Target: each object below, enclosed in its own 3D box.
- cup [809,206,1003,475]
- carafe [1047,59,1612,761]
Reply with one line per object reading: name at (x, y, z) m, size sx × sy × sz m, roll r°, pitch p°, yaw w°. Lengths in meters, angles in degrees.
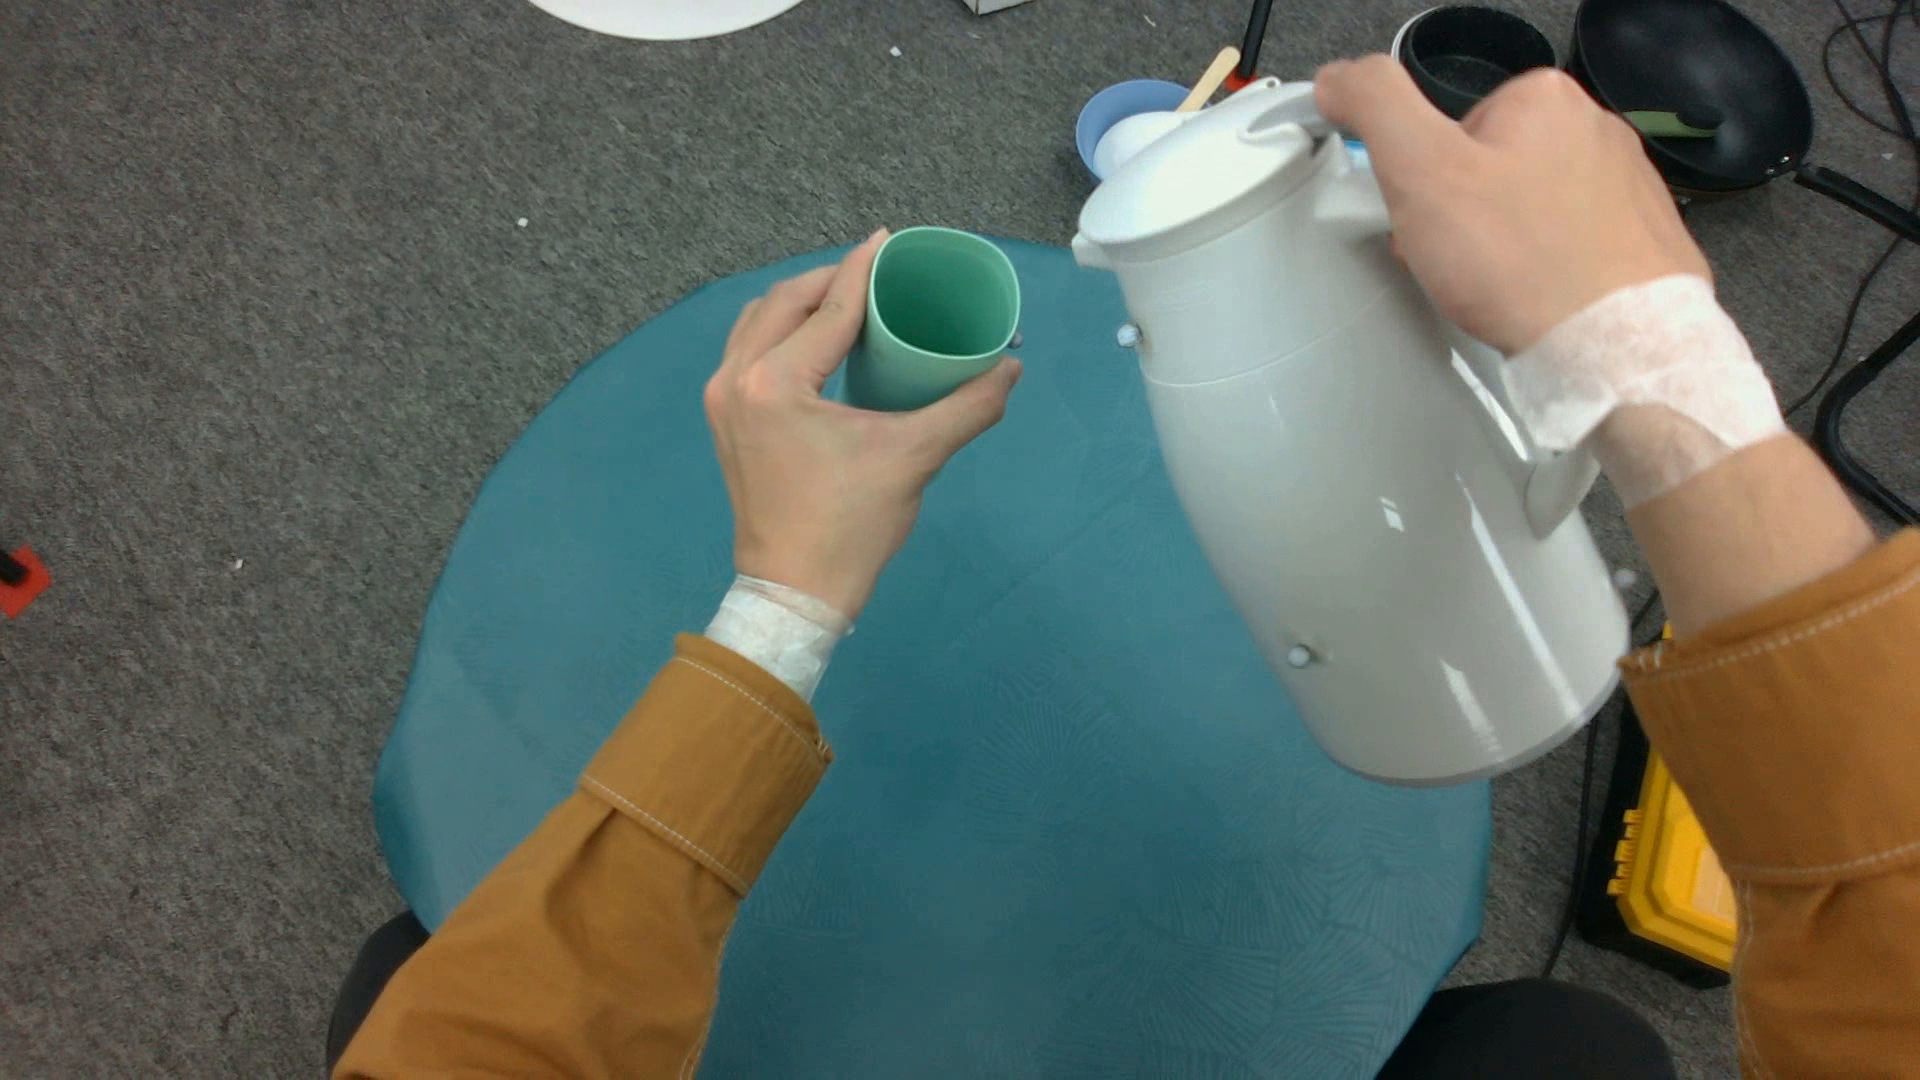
cup at (-0.028, -0.083, 0.616) m, size 0.067 × 0.131 × 0.067 m, roll 6°, pitch 66°, yaw -13°
carafe at (0.145, -0.052, 0.497) m, size 0.248 × 0.167 × 0.133 m, roll 55°, pitch 54°, yaw -25°
